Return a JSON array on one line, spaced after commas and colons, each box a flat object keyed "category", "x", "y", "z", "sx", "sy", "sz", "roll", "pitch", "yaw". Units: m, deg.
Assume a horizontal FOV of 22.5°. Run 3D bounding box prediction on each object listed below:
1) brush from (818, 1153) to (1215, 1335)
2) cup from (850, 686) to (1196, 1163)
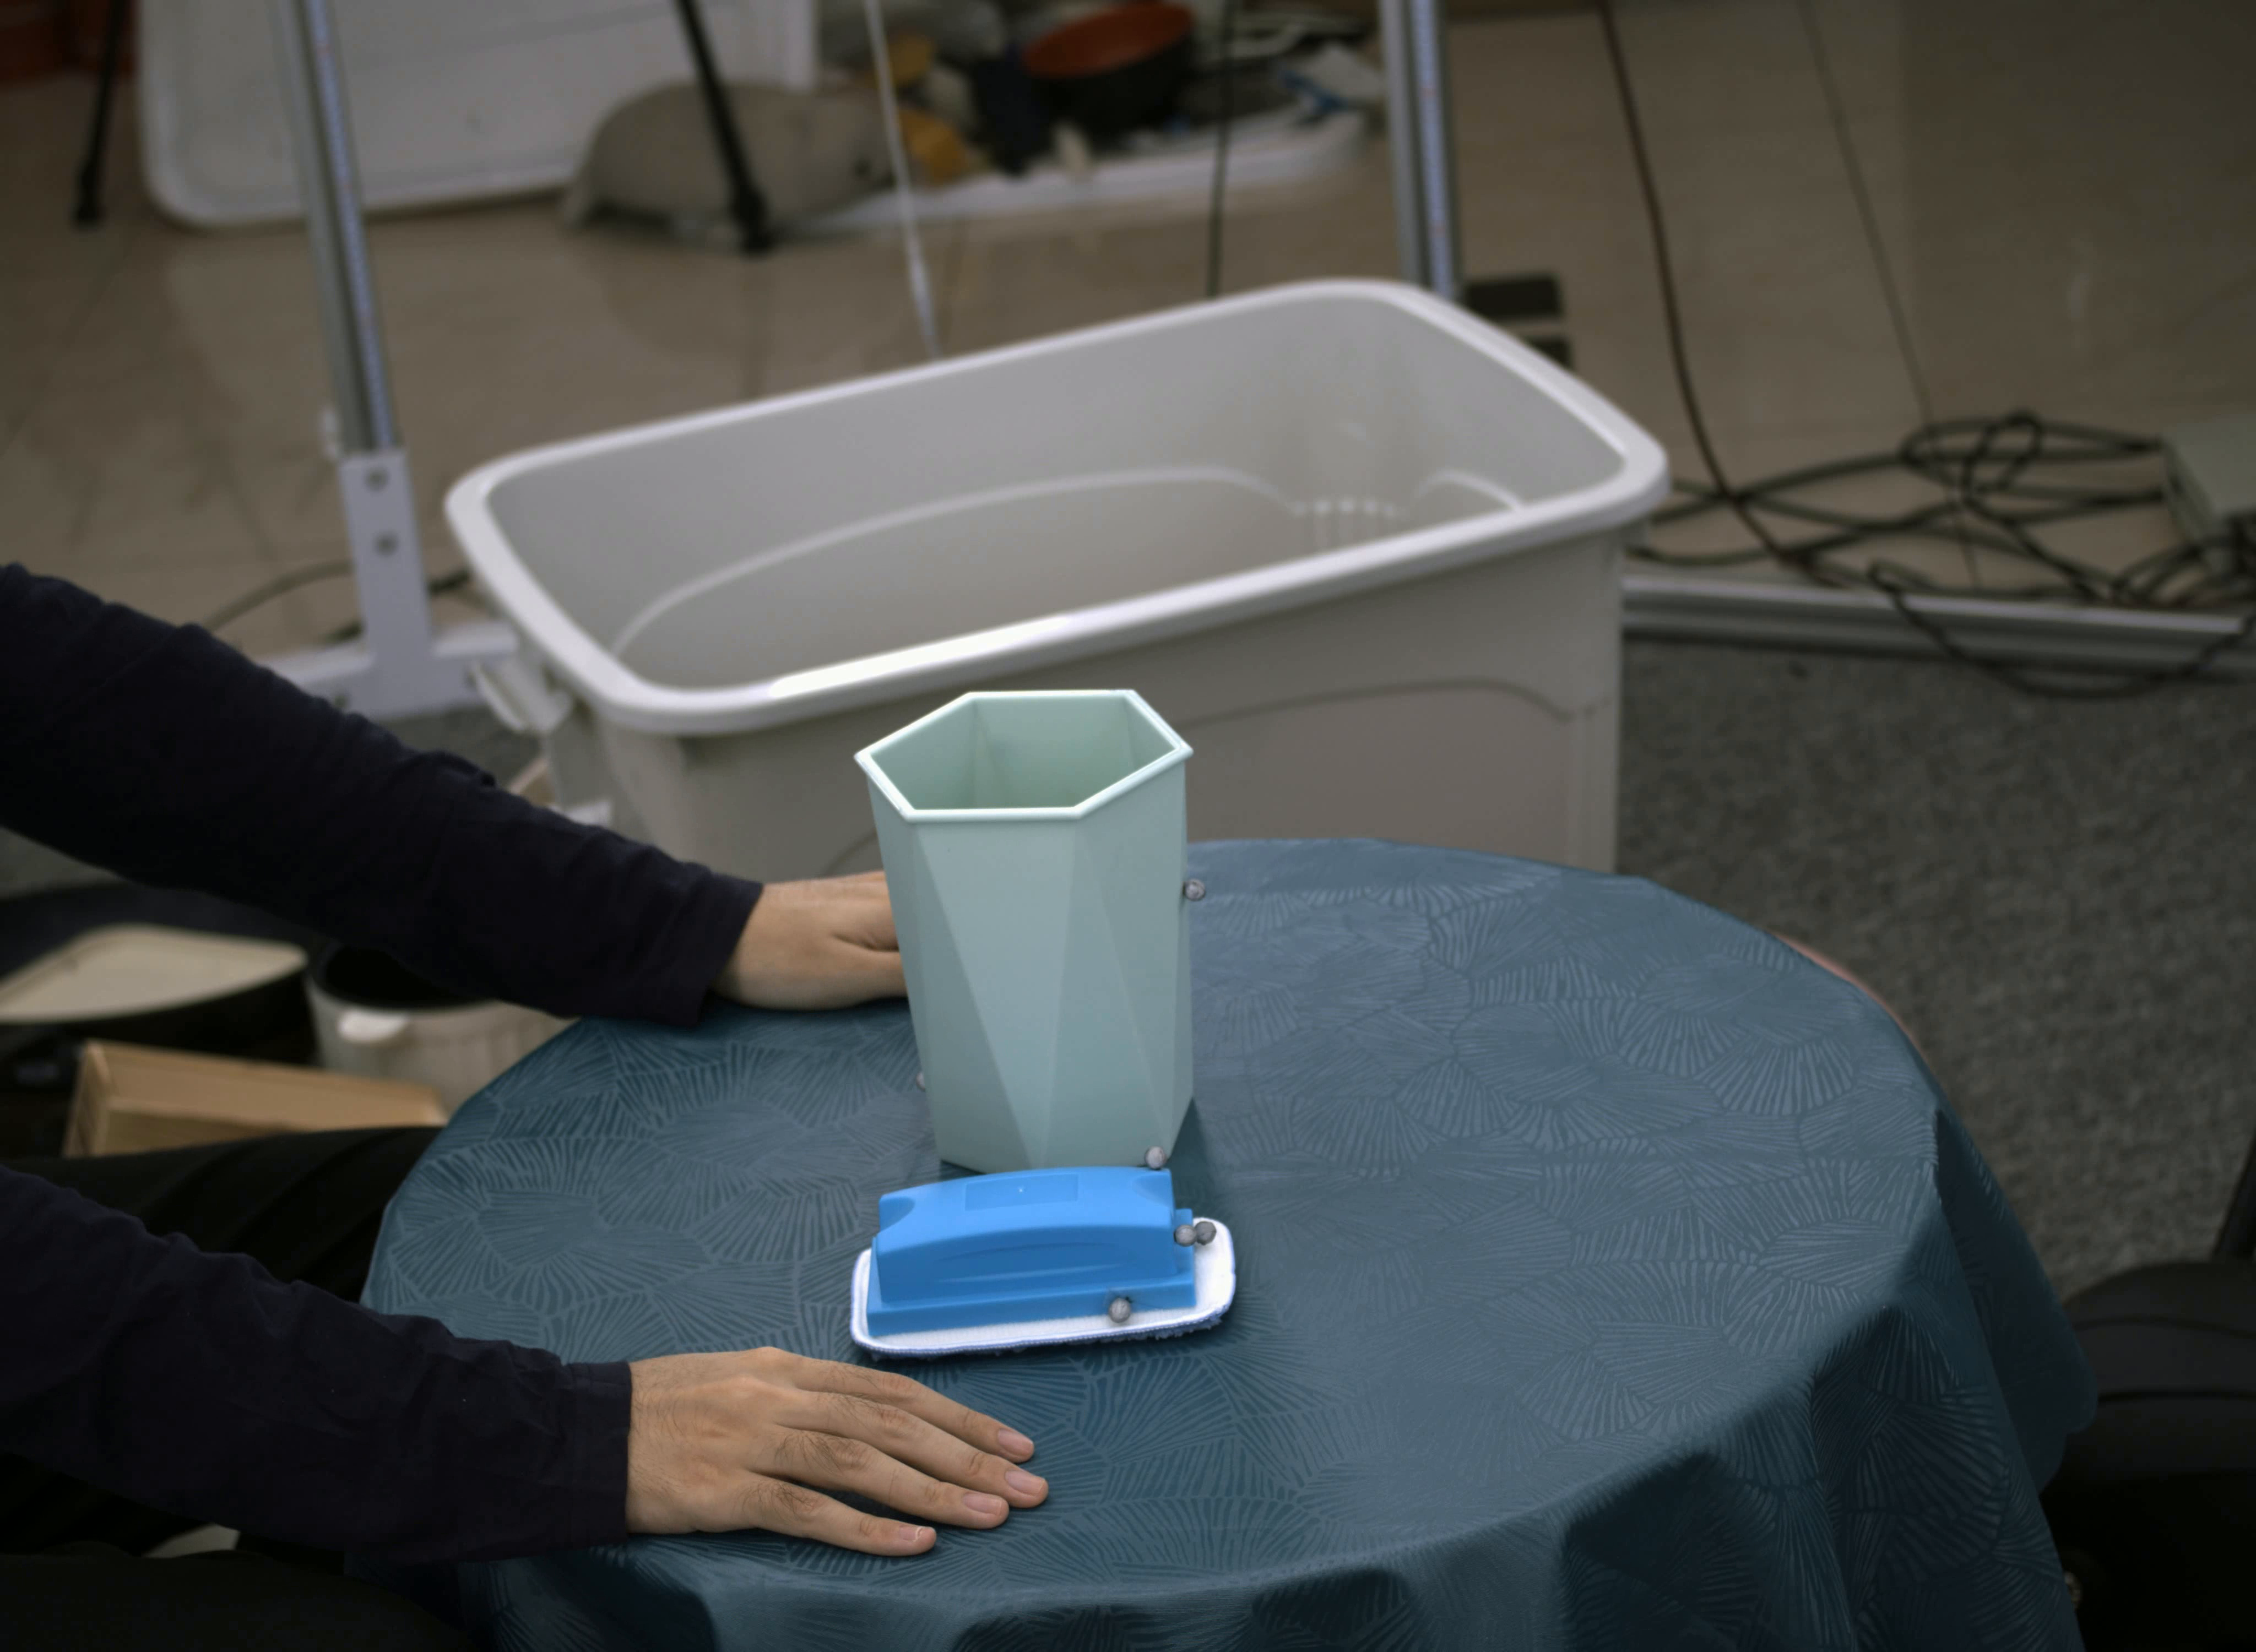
[{"category": "brush", "x": -0.041, "y": 0.149, "z": 2.062, "sx": 0.144, "sy": 0.057, "sz": 0.083, "roll": -2, "pitch": 22, "yaw": 3}, {"category": "cup", "x": -0.031, "y": 0.043, "z": 2.166, "sx": 0.115, "sy": 0.165, "sz": 0.129, "roll": -15, "pitch": 26, "yaw": -15}]
